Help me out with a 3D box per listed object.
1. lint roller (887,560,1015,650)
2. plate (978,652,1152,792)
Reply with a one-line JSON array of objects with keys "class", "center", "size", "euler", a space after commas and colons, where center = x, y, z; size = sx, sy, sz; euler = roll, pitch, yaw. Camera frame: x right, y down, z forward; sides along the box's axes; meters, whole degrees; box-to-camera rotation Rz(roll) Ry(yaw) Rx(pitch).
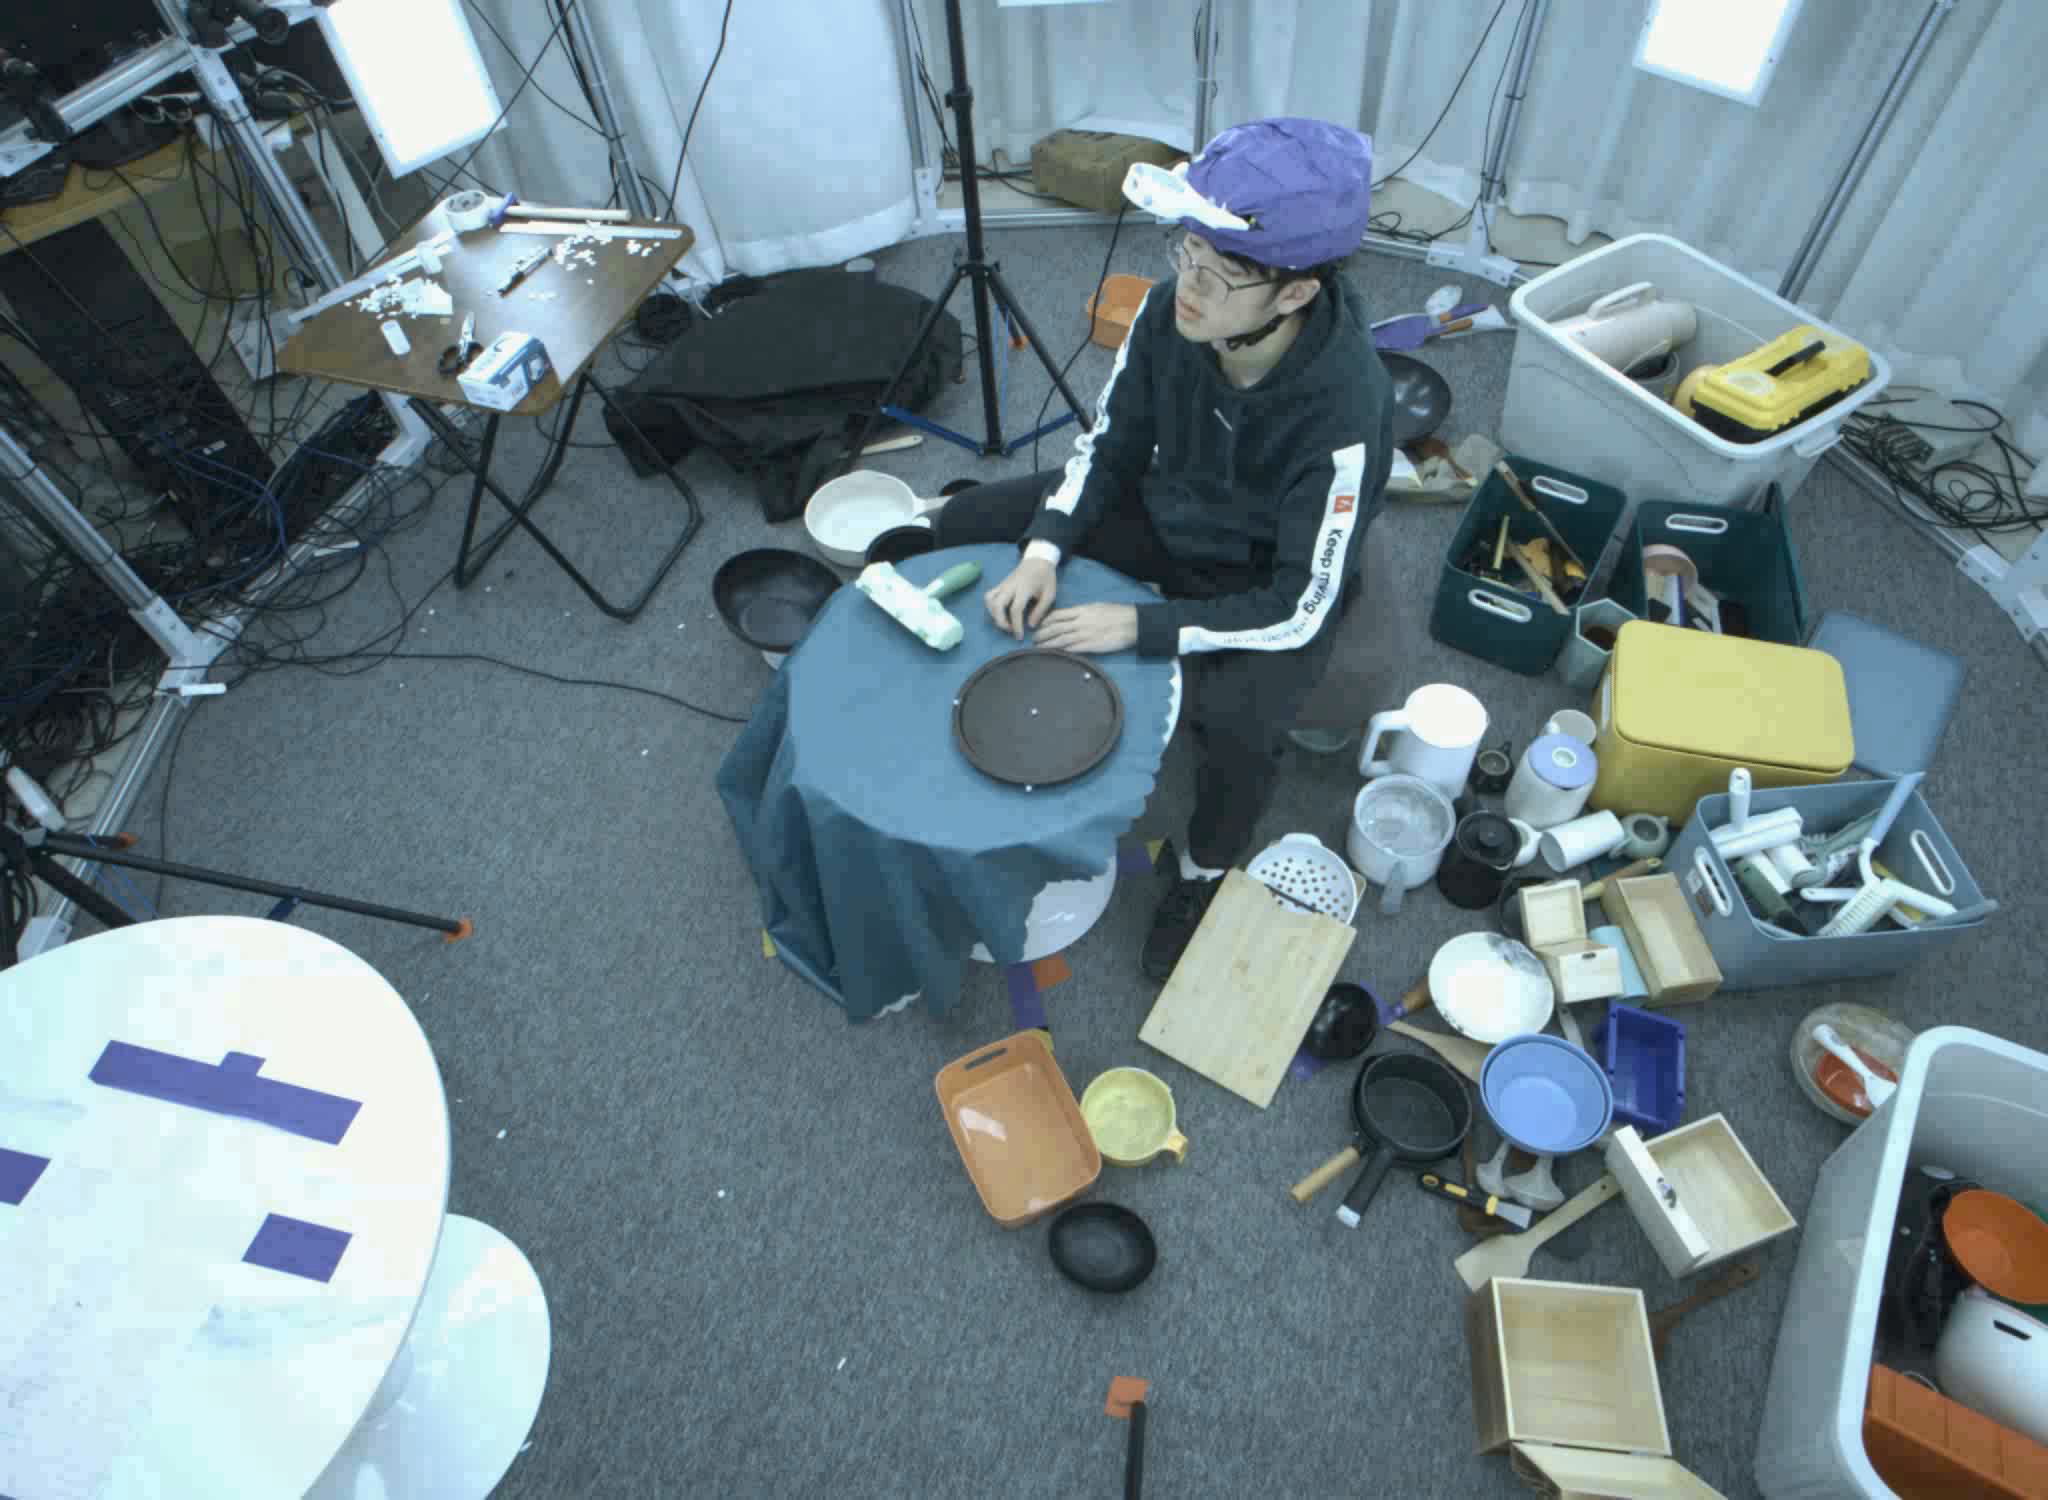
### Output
[{"class": "lint roller", "center": [-0.089, -0.263, 1.923], "size": [0.184, 0.083, 0.195], "euler": [-39, 62, -19]}, {"class": "plate", "center": [0.060, -0.043, 1.796], "size": [0.254, 0.029, 0.252], "euler": [-1, 54, 3]}]
